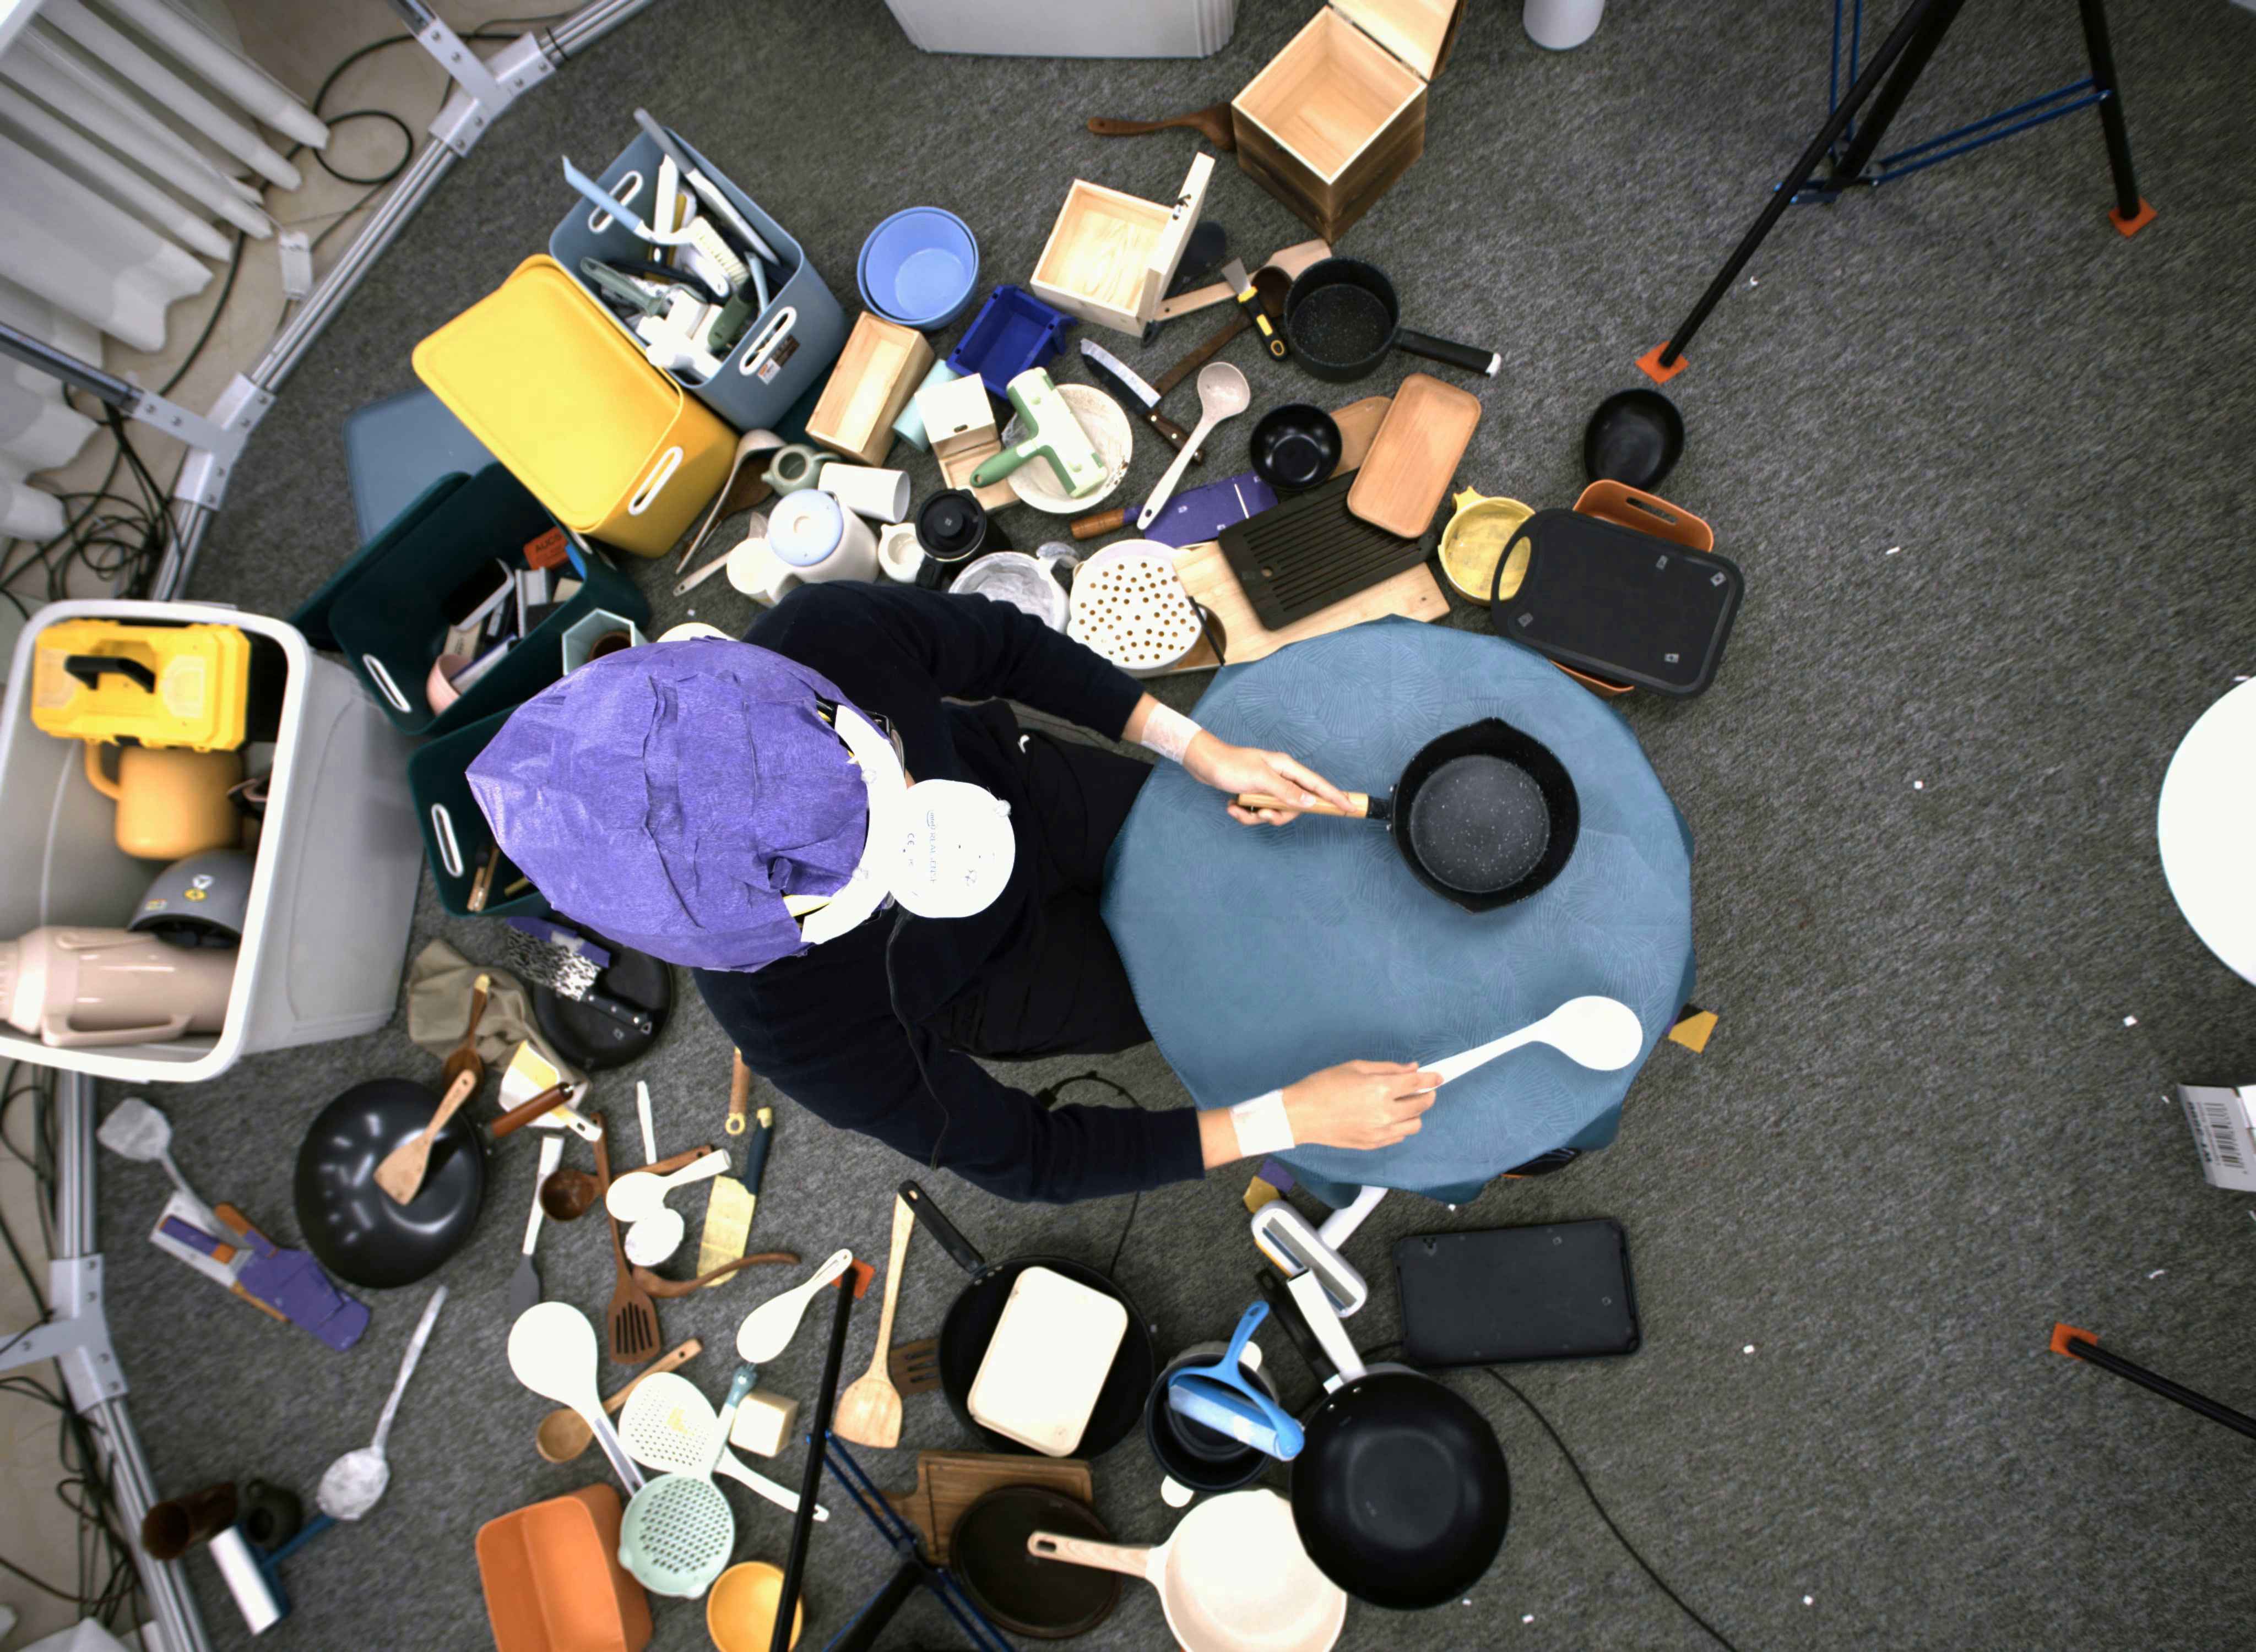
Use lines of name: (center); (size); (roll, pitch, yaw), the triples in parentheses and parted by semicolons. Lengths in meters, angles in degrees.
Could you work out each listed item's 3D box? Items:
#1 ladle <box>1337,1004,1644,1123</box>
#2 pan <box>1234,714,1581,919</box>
ladle: (0.351, 0.236, 1.336); (0.292, 0.092, 0.068); (-18, 41, -6)
pan: (0.281, -0.014, 1.408); (0.344, 0.108, 0.207); (4, 88, 10)
